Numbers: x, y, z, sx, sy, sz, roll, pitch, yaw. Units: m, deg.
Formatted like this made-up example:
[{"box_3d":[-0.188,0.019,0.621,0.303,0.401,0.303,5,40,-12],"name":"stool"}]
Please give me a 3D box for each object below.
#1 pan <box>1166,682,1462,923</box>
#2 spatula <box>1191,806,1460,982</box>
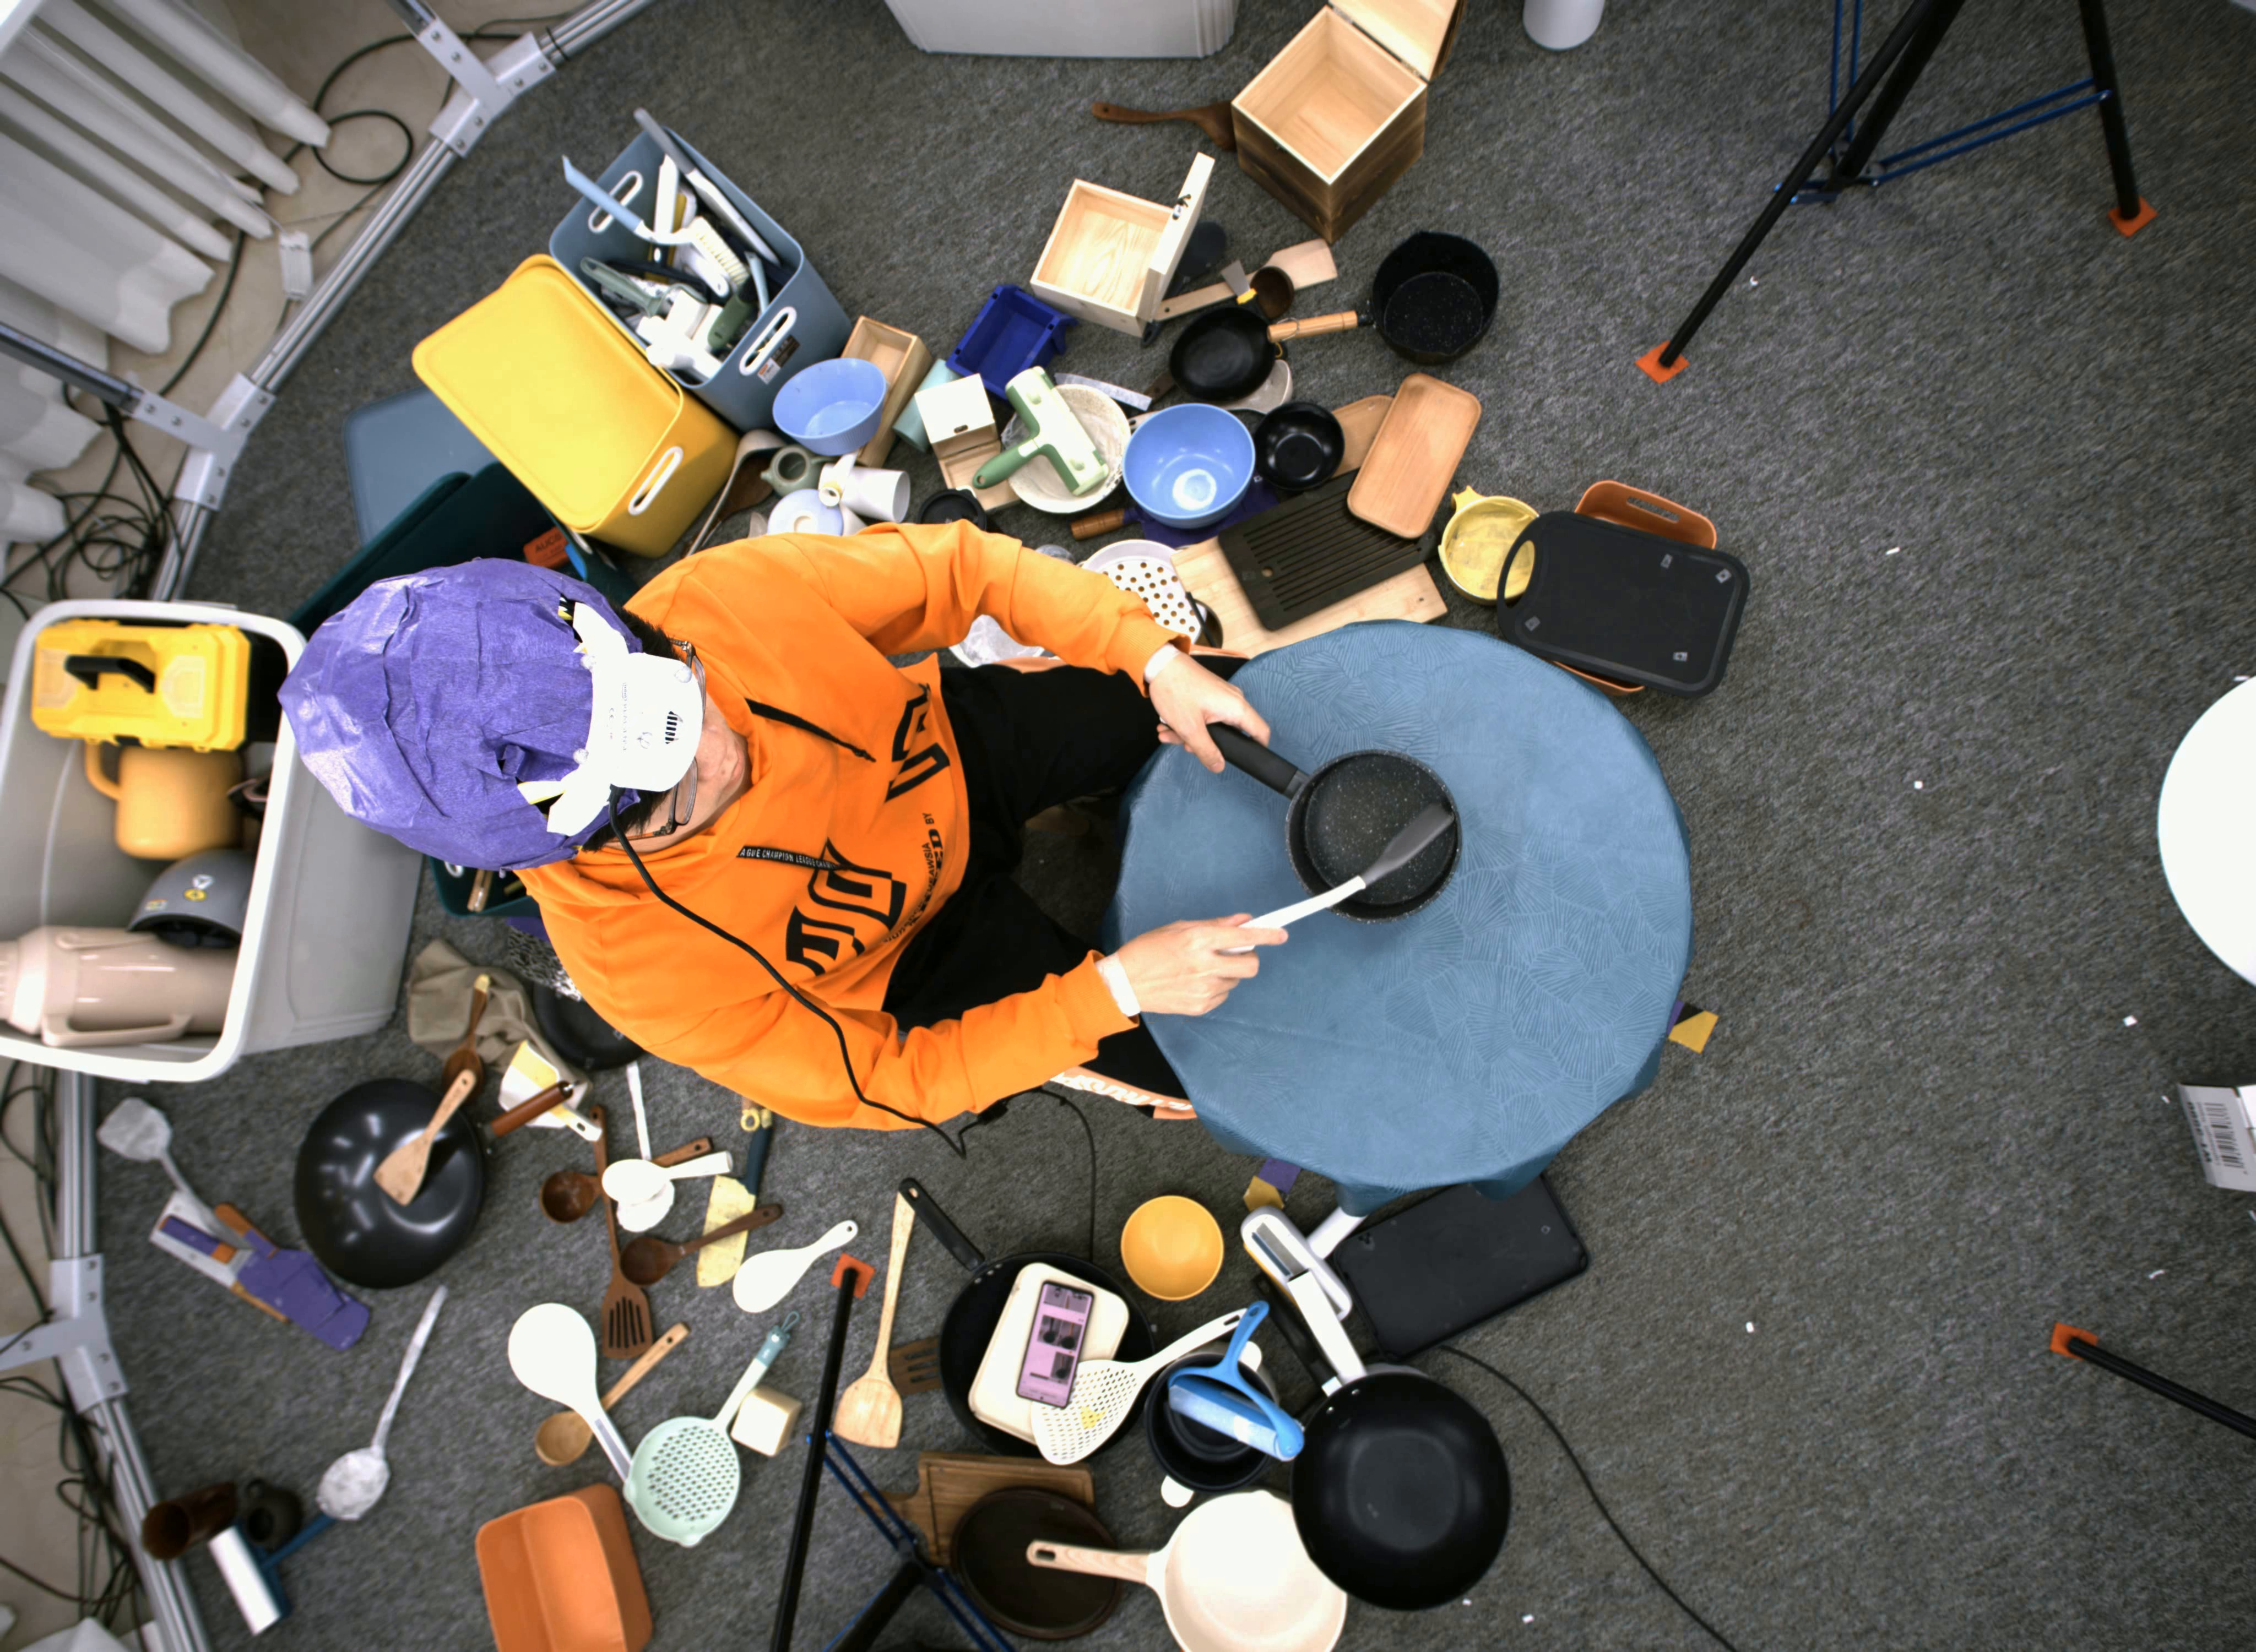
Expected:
[{"box_3d":[0.183,-0.040,1.383,0.328,0.085,0.174,35,105,7],"name":"pan"},{"box_3d":[0.191,0.064,1.328,0.288,0.058,0.032,-30,106,3],"name":"spatula"}]
